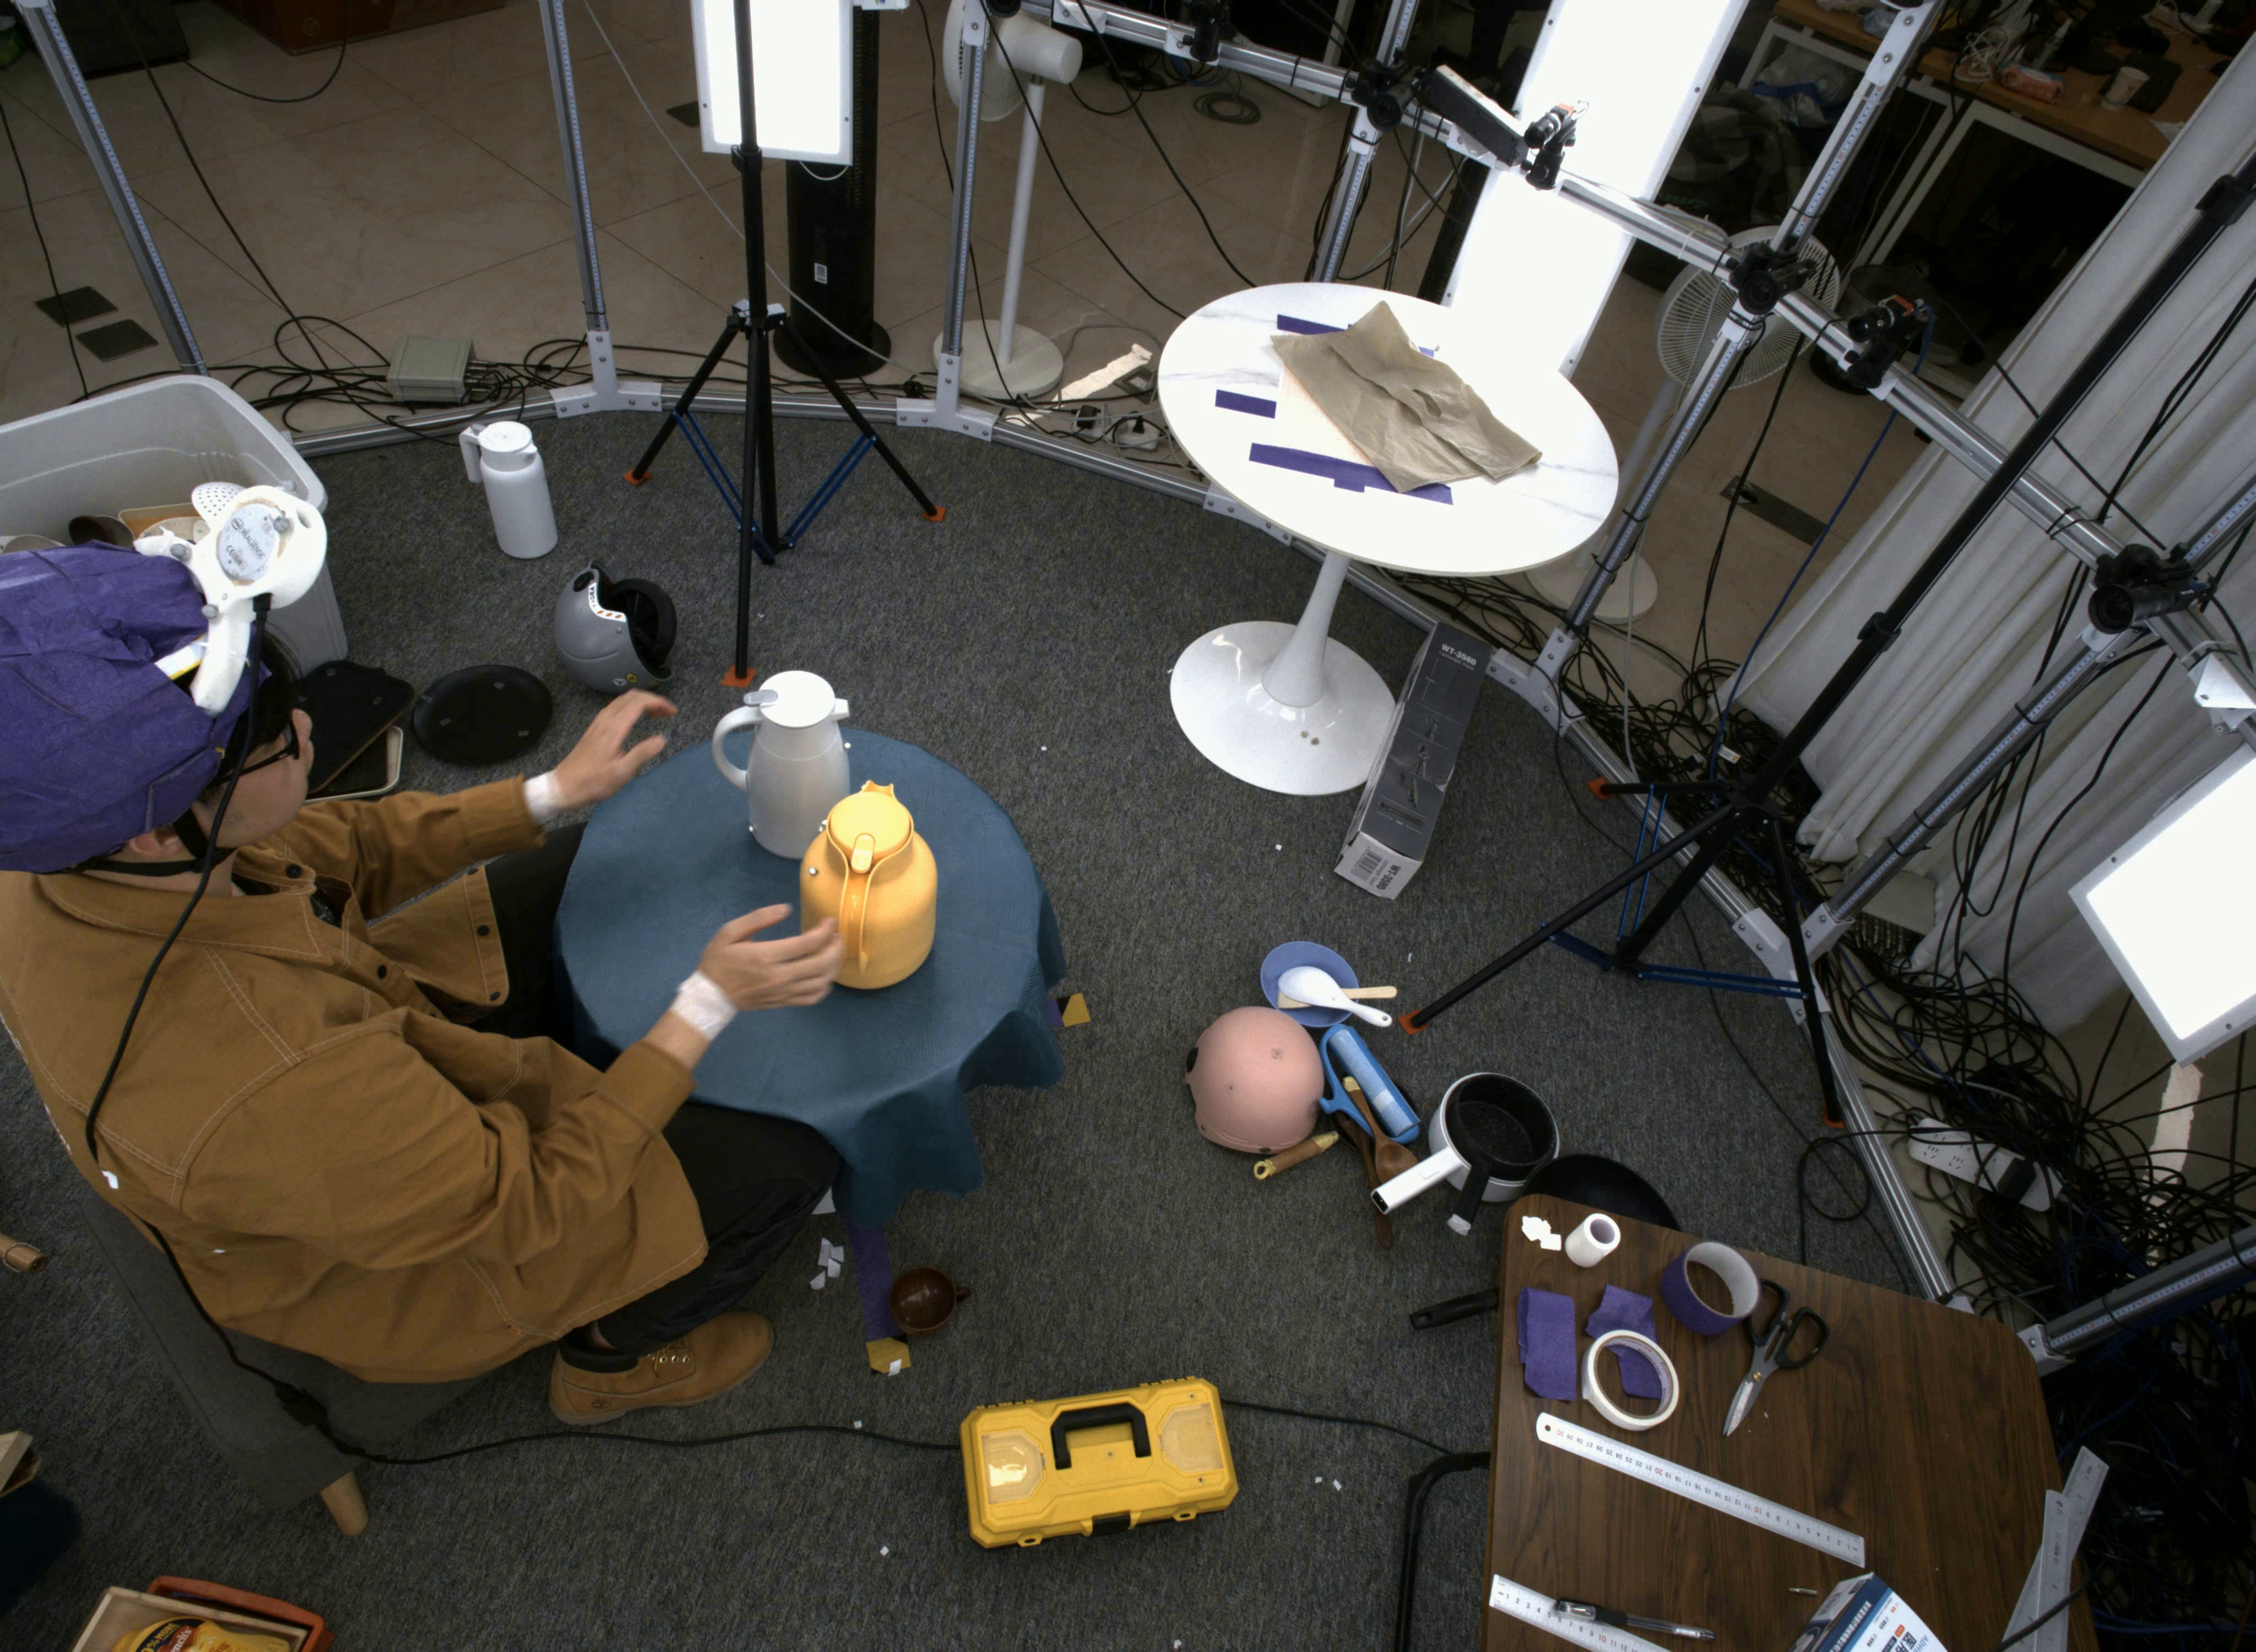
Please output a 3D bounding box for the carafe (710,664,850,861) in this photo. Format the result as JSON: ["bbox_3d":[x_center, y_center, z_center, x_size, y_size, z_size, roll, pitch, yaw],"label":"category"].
[{"bbox_3d":[-0.435,-0.084,1.621,0.168,0.254,0.129,-4,53,-14],"label":"carafe"}]

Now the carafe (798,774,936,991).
[{"bbox_3d":[-0.311,0.081,1.522,0.162,0.267,0.199,9,50,-3],"label":"carafe"}]
